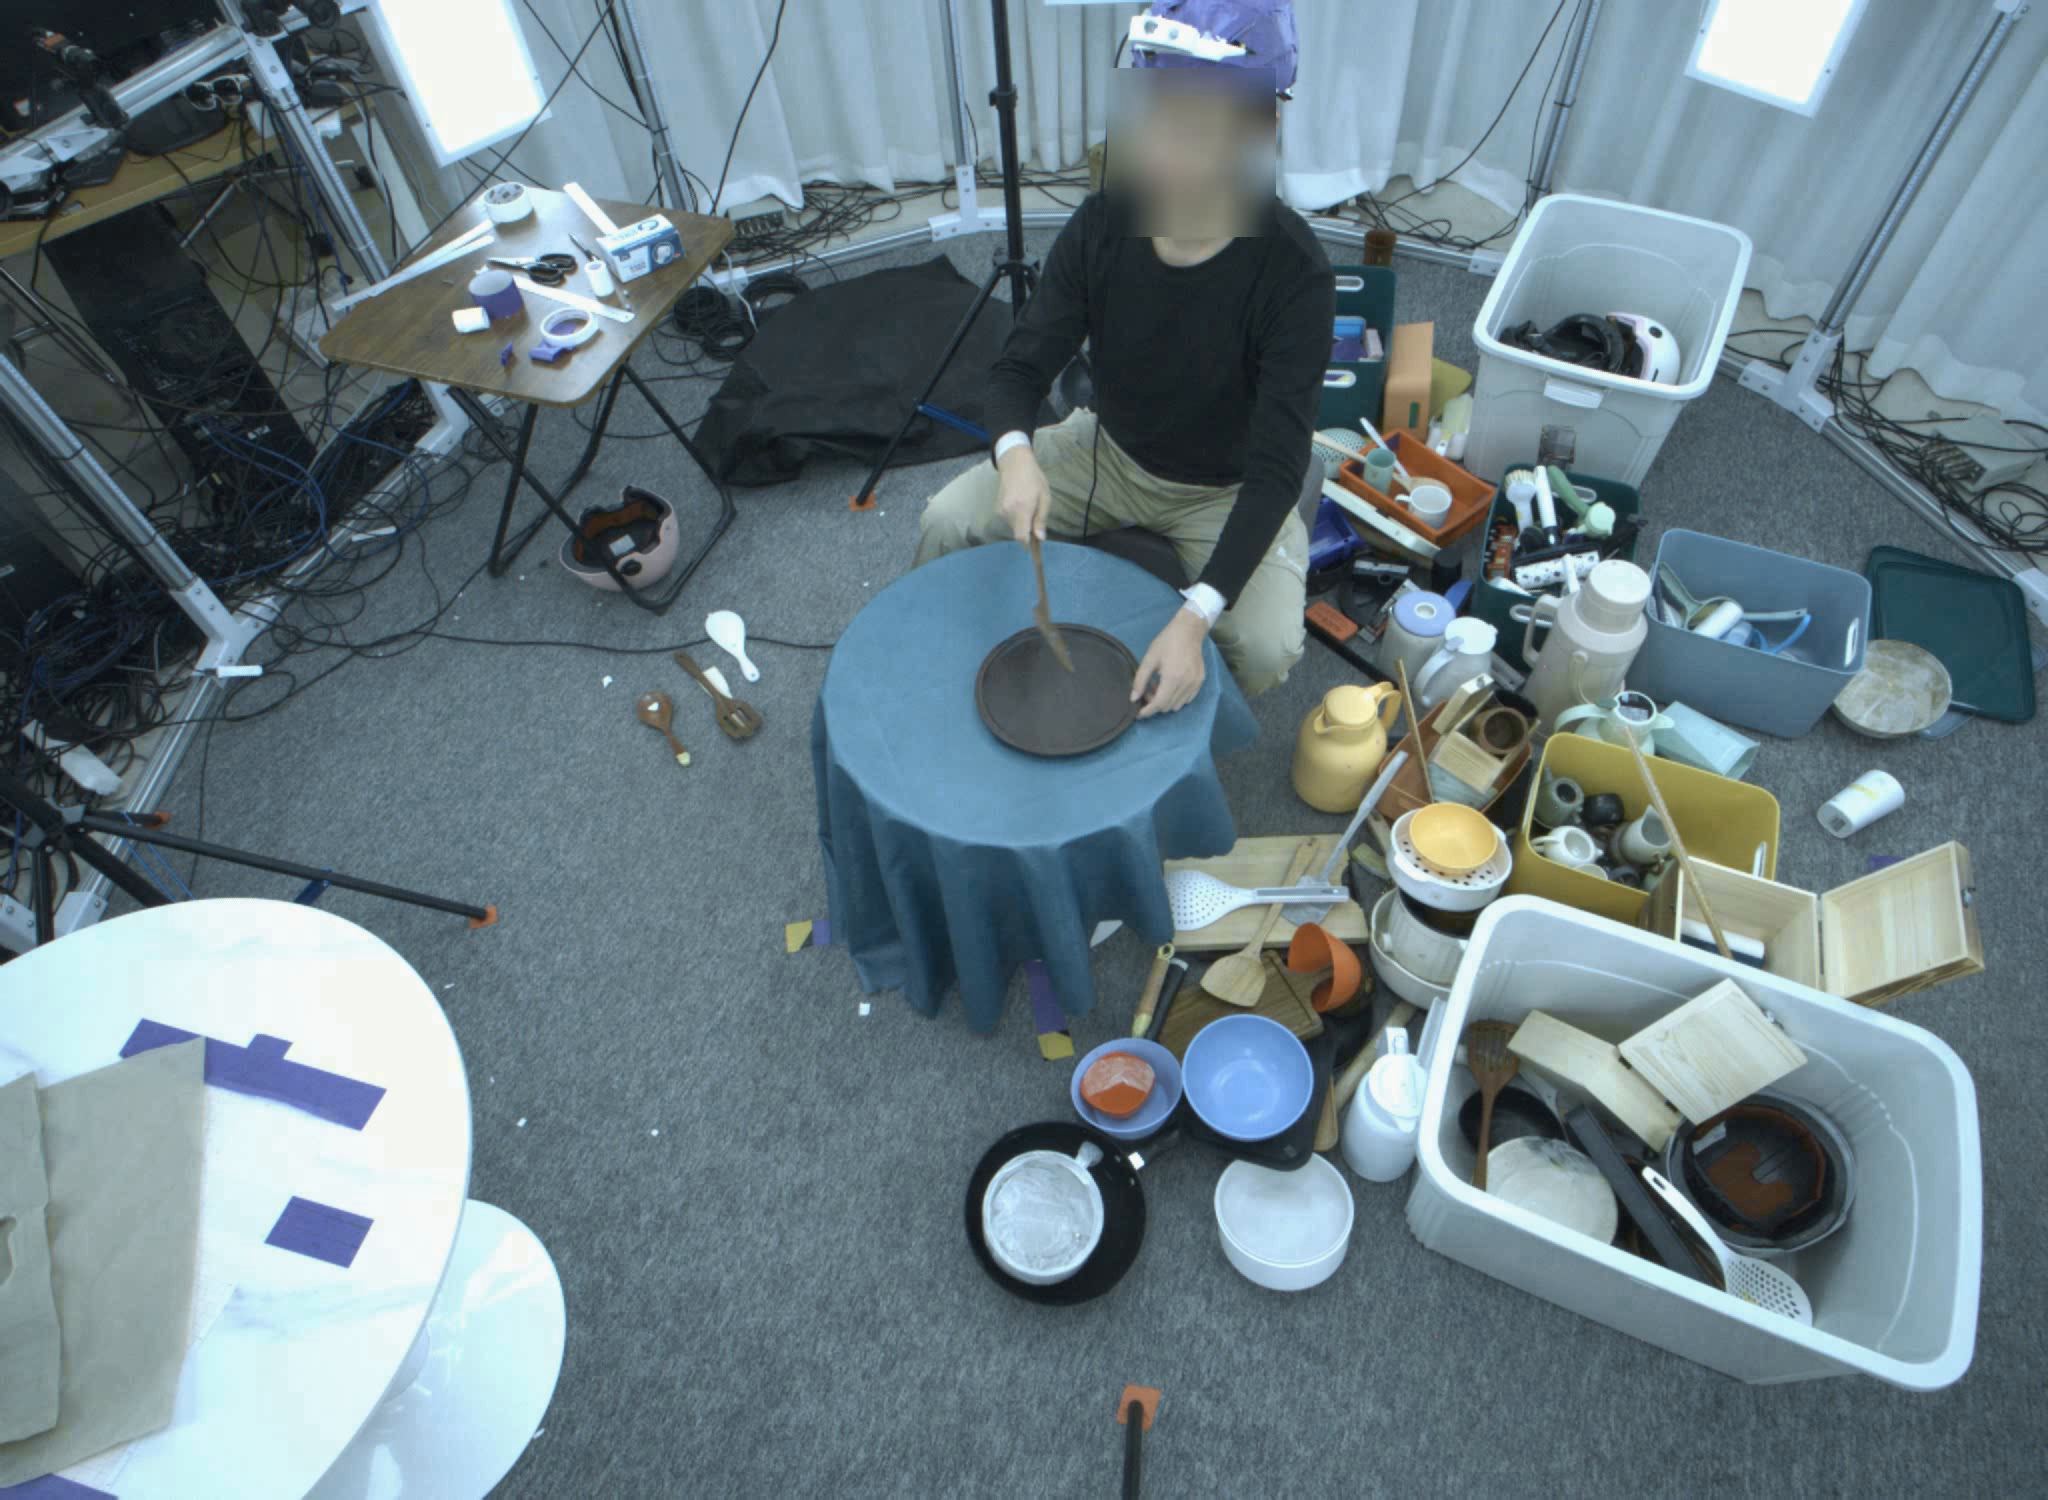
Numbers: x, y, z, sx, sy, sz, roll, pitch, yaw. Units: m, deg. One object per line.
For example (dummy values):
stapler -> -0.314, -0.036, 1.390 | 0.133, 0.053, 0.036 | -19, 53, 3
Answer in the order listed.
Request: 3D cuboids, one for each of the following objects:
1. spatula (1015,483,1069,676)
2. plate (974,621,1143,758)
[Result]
spatula -> 0.016, -0.258, 1.728 | 0.015, 0.098, 0.380 | -23, 48, 17
plate -> 0.052, -0.092, 1.837 | 0.254, 0.029, 0.252 | -1, 55, 3
